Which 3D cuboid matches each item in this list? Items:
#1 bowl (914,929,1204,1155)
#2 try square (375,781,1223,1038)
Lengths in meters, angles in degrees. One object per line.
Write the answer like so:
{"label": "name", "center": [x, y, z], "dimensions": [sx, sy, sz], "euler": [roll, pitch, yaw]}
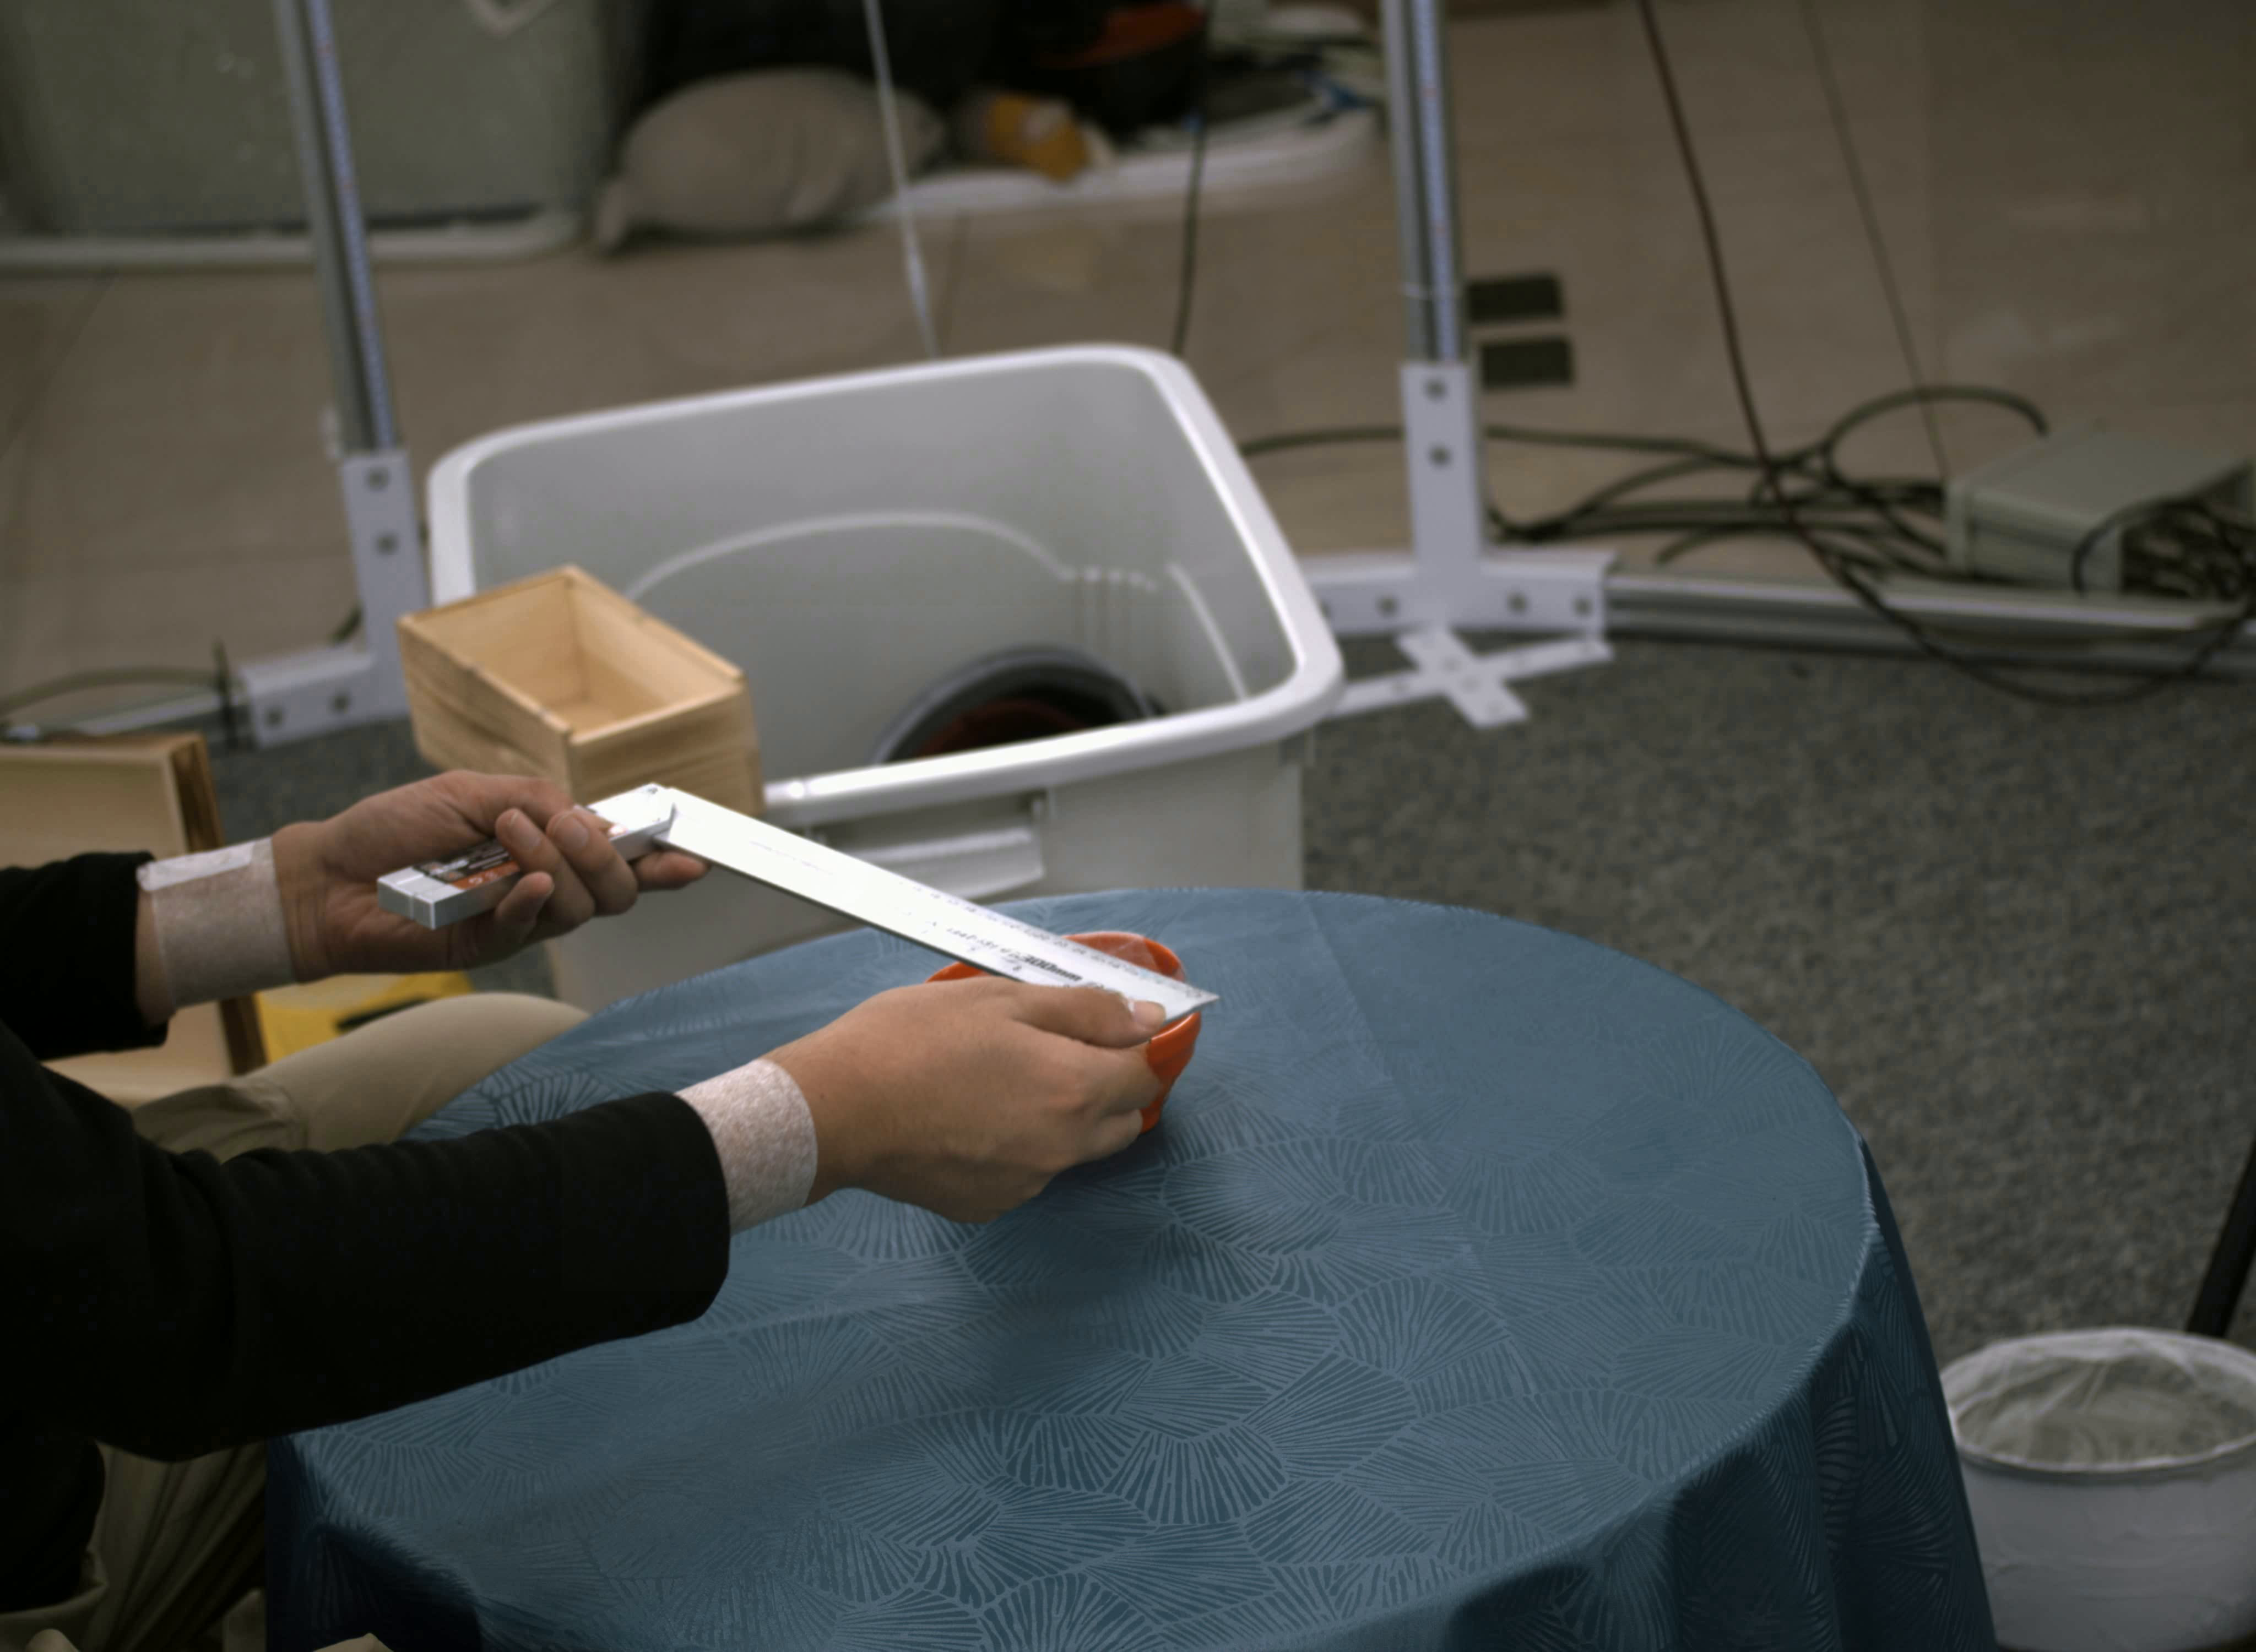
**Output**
{"label": "bowl", "center": [-0.025, 0.088, 2.200], "dimensions": [0.119, 0.052, 0.117], "euler": [-4, 26, 2]}
{"label": "try square", "center": [-0.128, 0.047, 2.134], "dimensions": [0.310, 0.016, 0.151], "euler": [20, 33, 40]}
